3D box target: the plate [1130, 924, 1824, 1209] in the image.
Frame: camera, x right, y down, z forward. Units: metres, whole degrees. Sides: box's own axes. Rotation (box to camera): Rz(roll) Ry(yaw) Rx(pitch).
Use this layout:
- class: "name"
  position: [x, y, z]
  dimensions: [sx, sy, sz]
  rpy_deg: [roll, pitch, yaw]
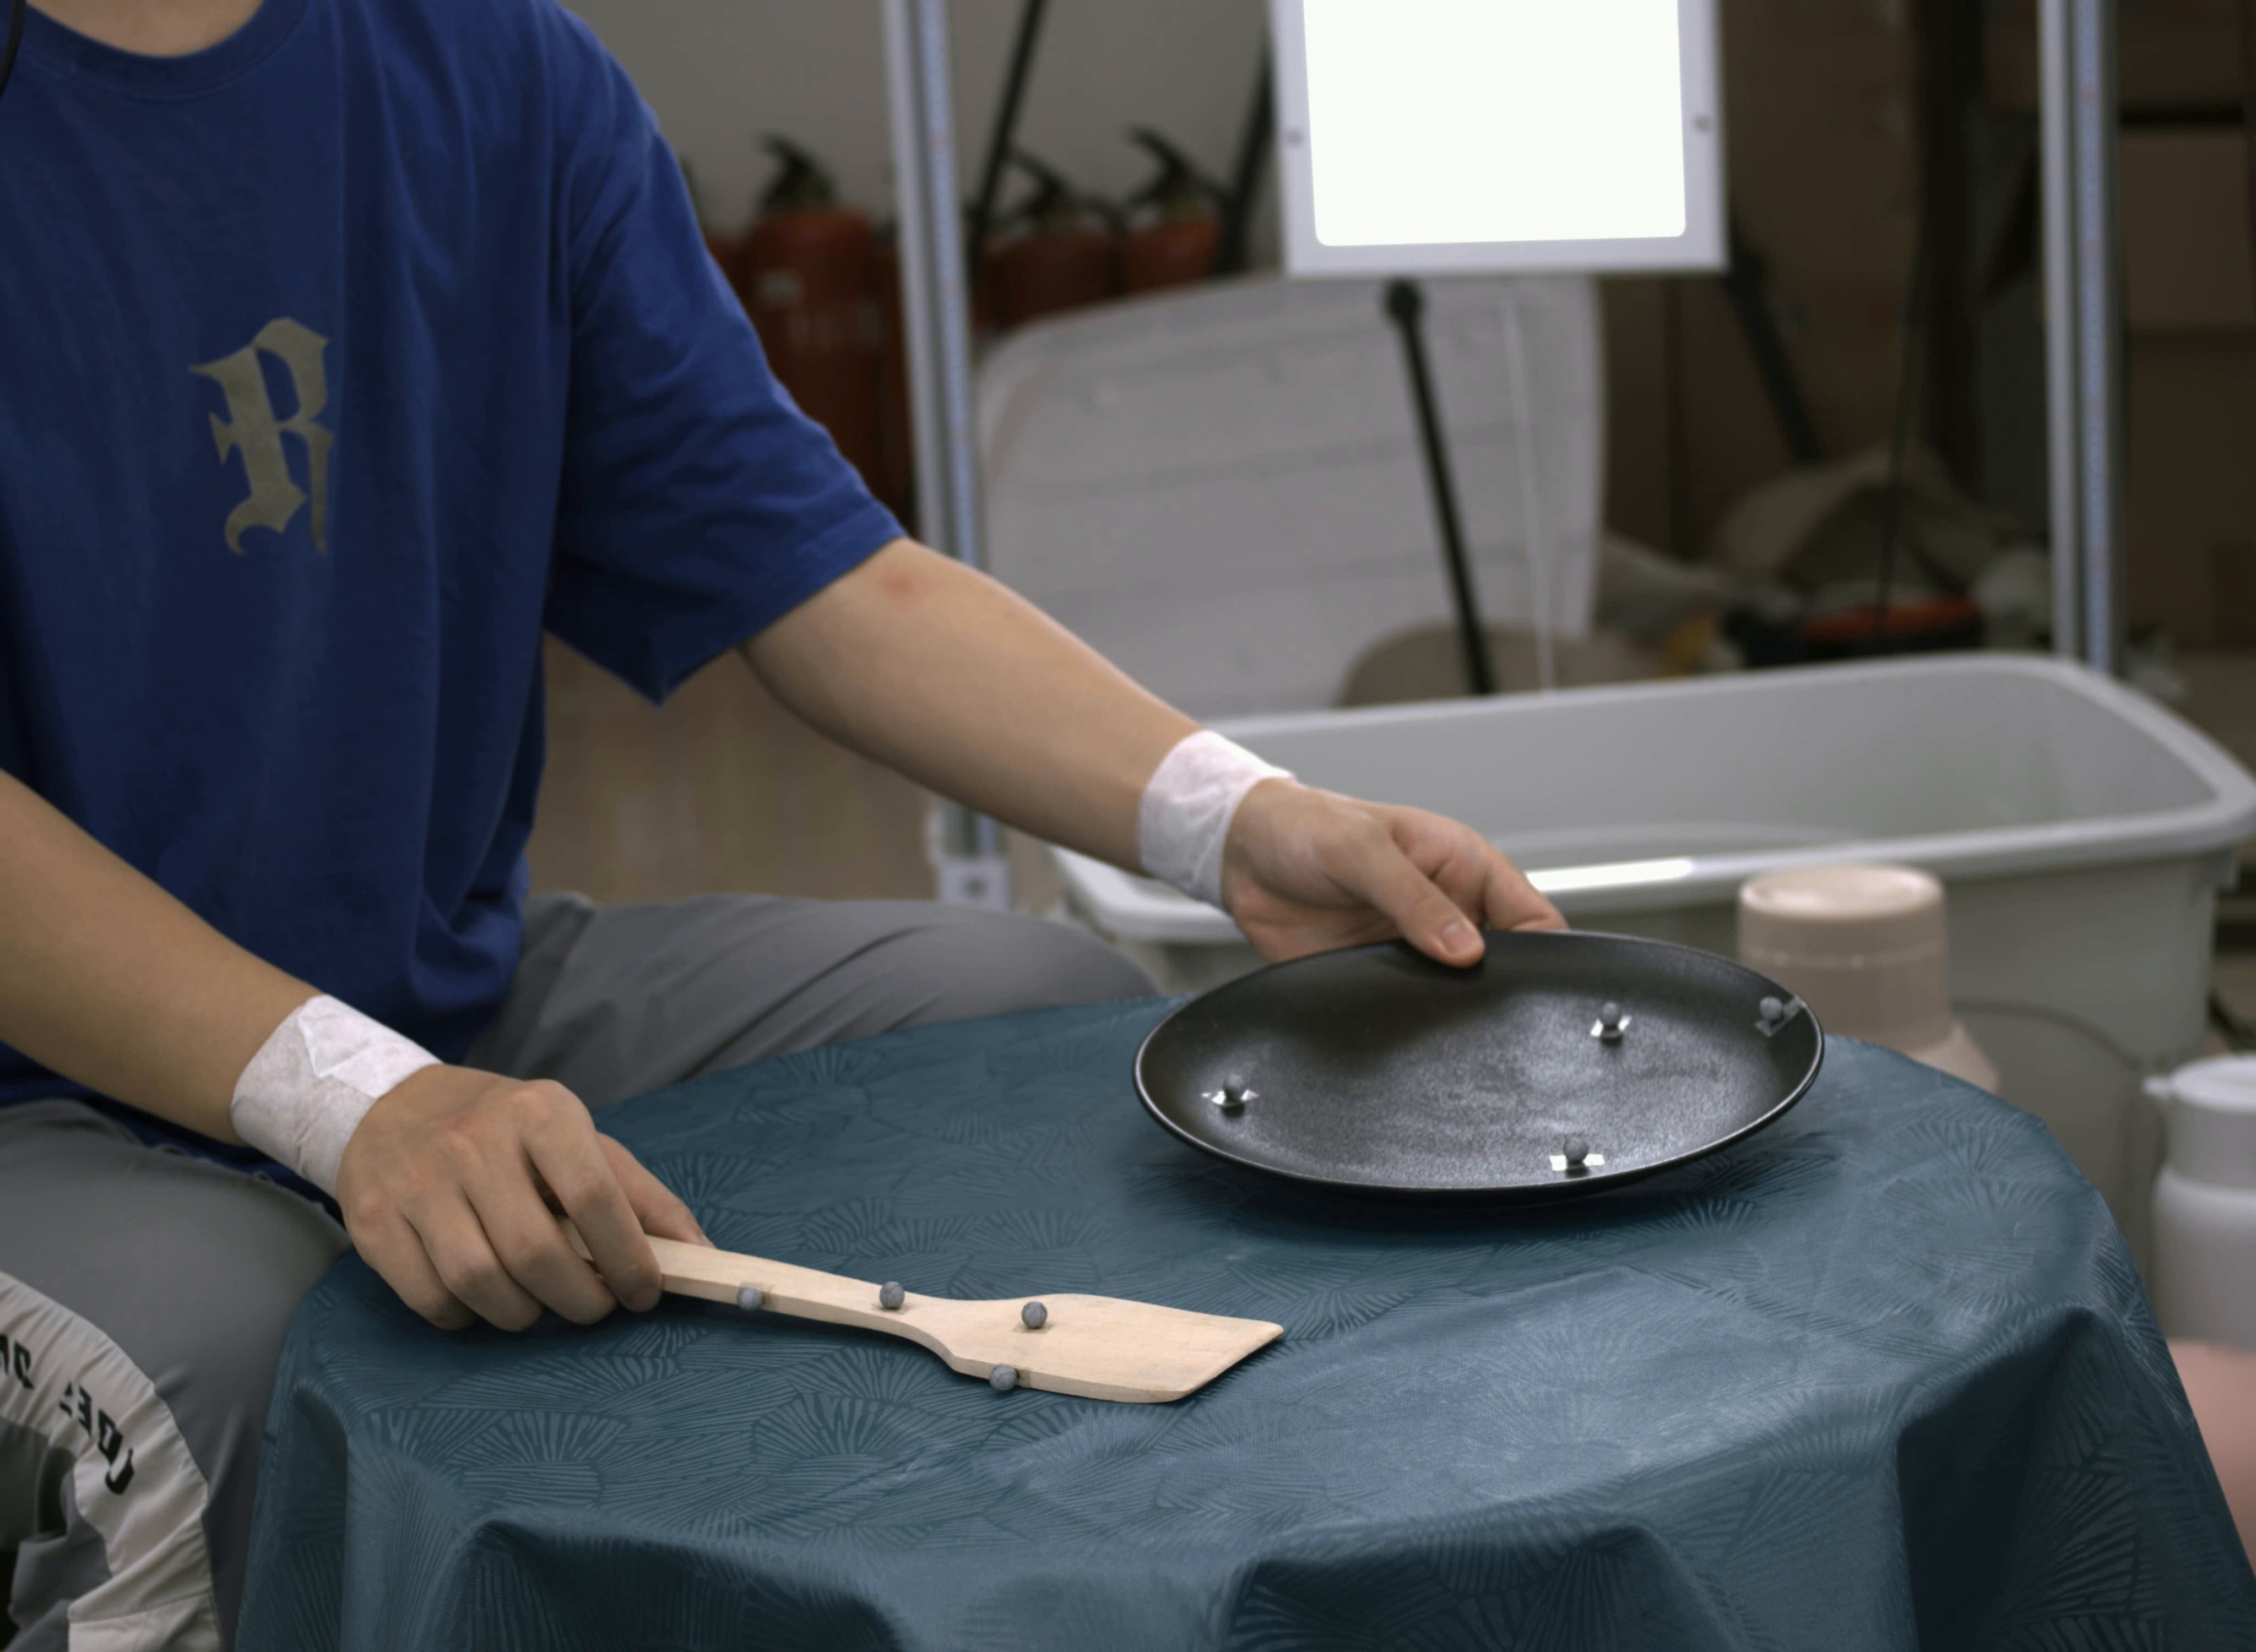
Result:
- class: "plate"
  position: [0.122, 0.087, 1.923]
  dimensions: [0.244, 0.023, 0.244]
  rpy_deg: [-5, 20, 0]

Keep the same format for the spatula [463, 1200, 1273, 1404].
- class: "spatula"
  position: [-0.095, 0.151, 1.785]
  dimensions: [0.298, 0.011, 0.070]
  rpy_deg: [8, 19, 31]
